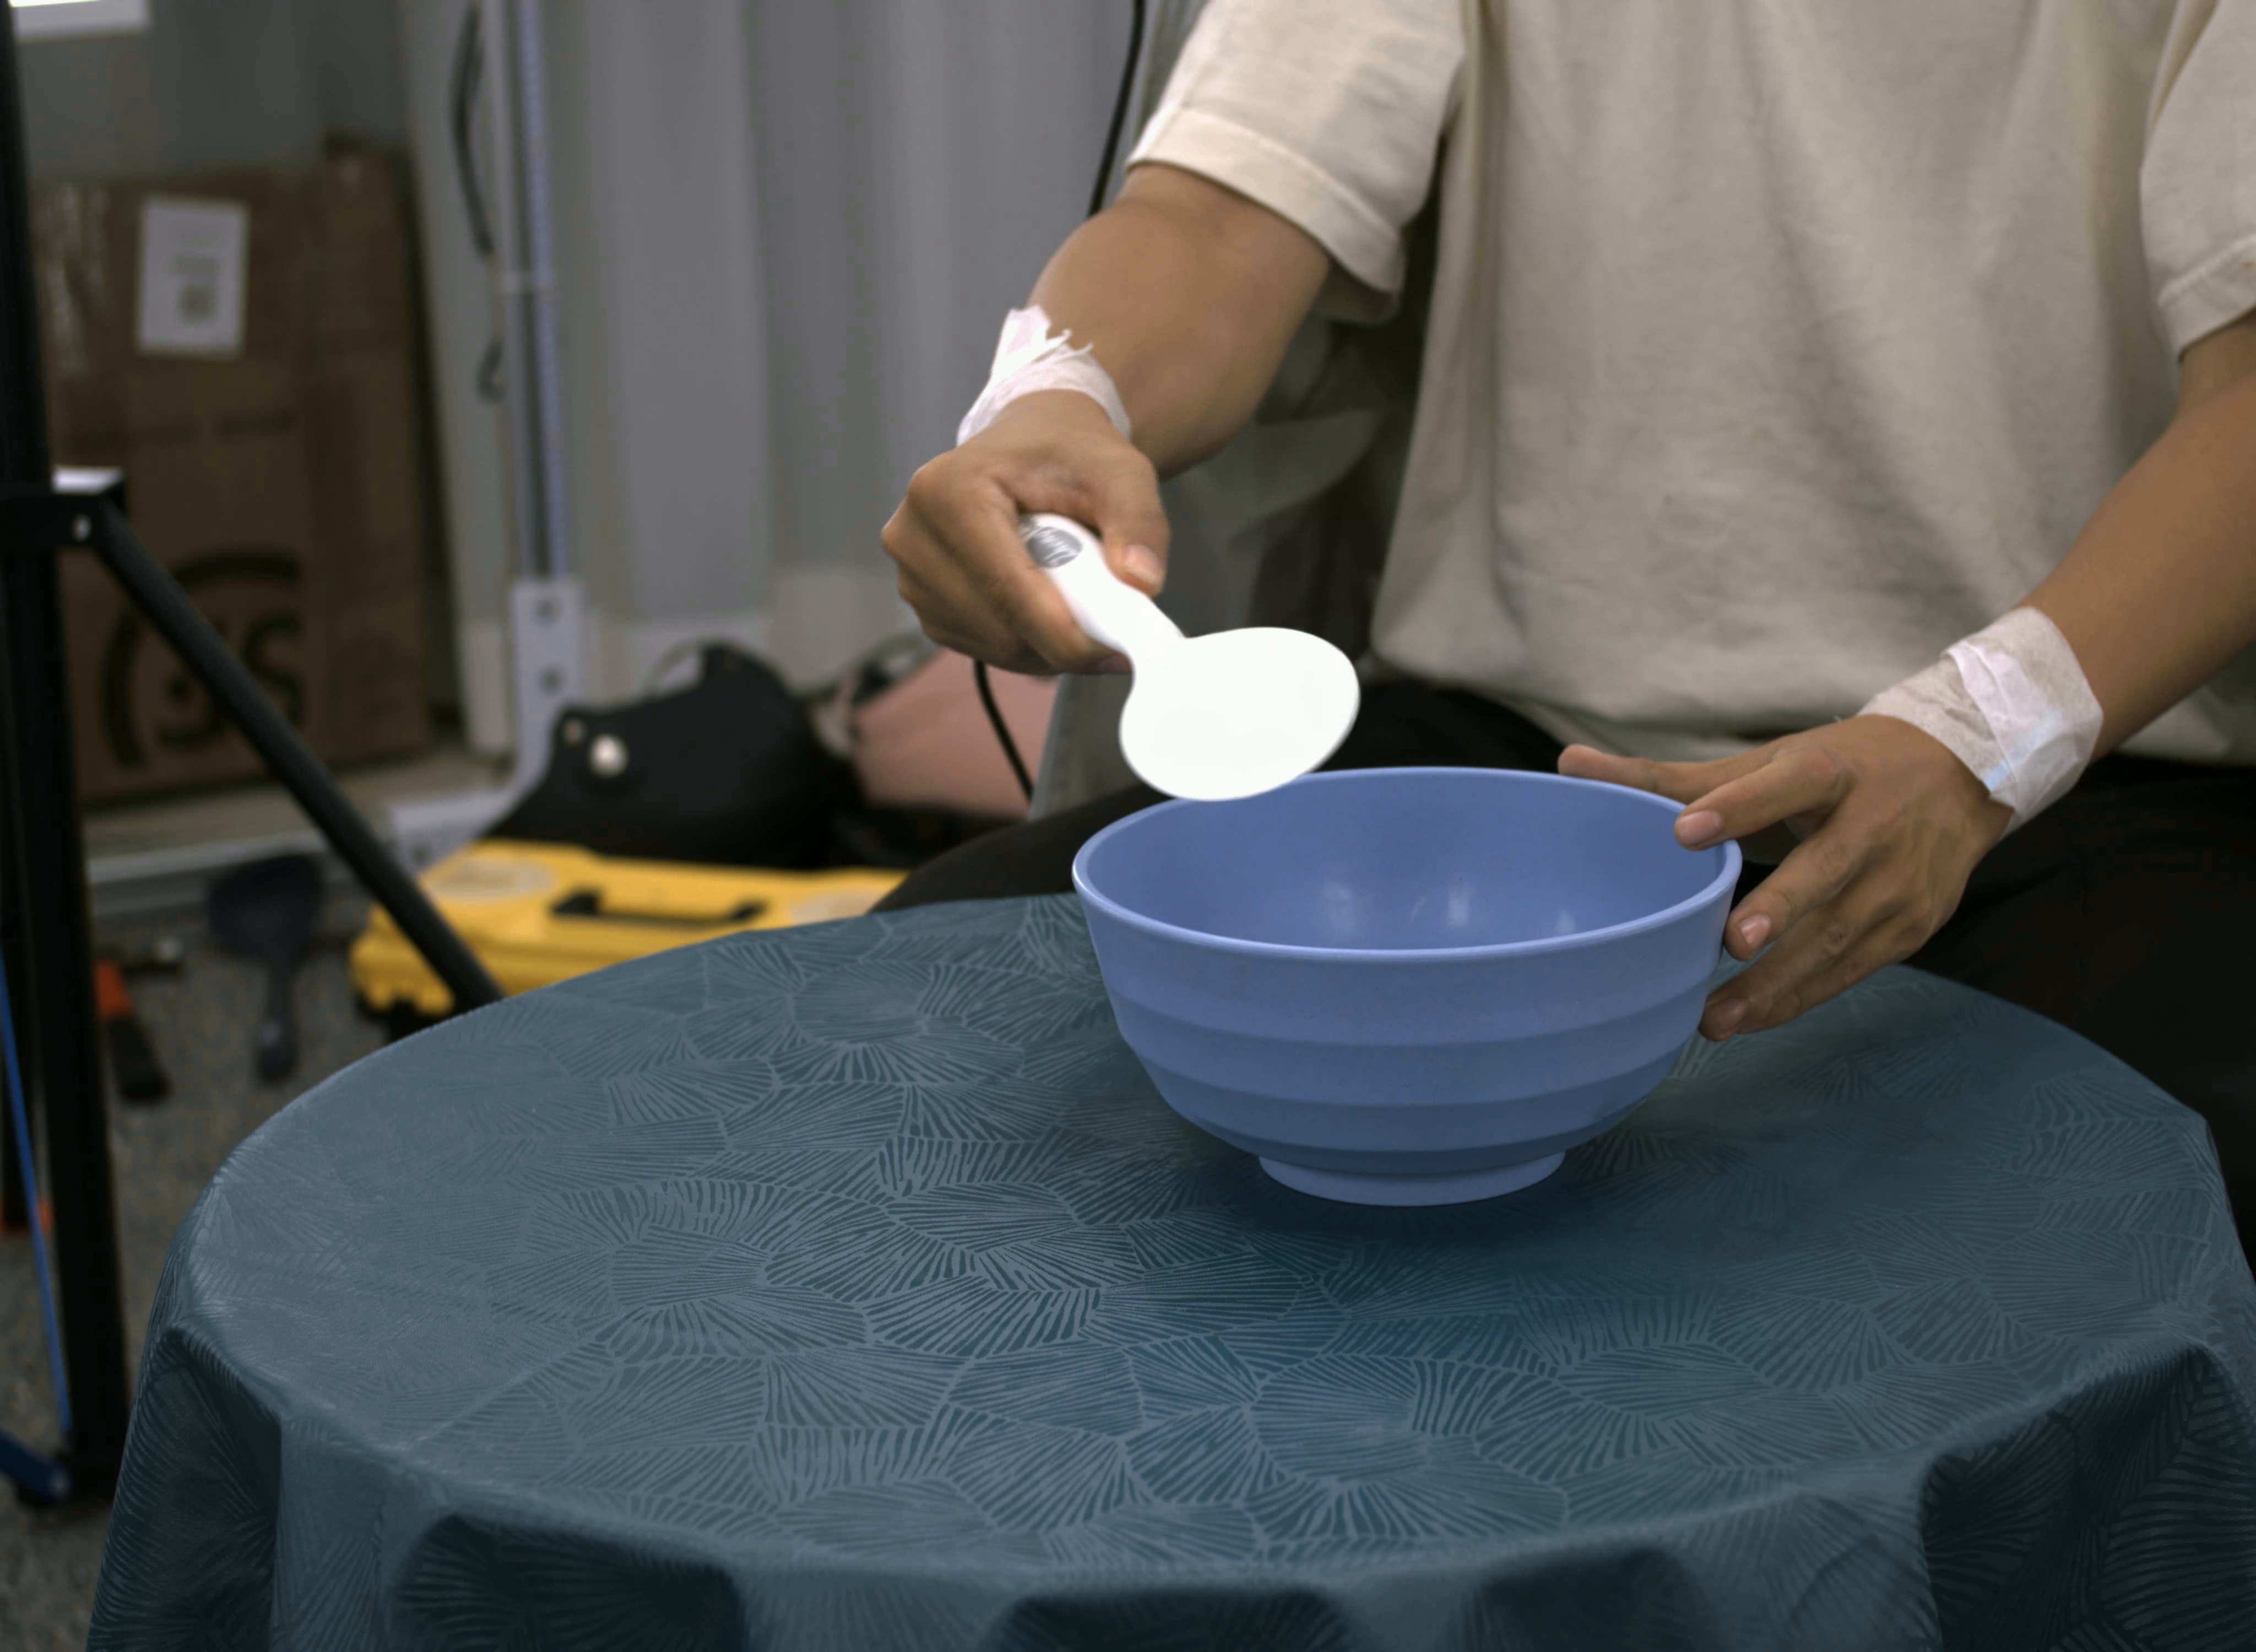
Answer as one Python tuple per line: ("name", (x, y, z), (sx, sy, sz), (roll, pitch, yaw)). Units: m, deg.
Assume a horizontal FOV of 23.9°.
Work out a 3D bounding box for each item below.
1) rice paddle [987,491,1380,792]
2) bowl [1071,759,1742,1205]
("rice paddle", (0.013, -0.056, 1.589), (0.068, 0.029, 0.209), (-35, 31, -10))
("bowl", (0.083, 0.052, 1.564), (0.195, 0.095, 0.197), (-4, 17, 0))
